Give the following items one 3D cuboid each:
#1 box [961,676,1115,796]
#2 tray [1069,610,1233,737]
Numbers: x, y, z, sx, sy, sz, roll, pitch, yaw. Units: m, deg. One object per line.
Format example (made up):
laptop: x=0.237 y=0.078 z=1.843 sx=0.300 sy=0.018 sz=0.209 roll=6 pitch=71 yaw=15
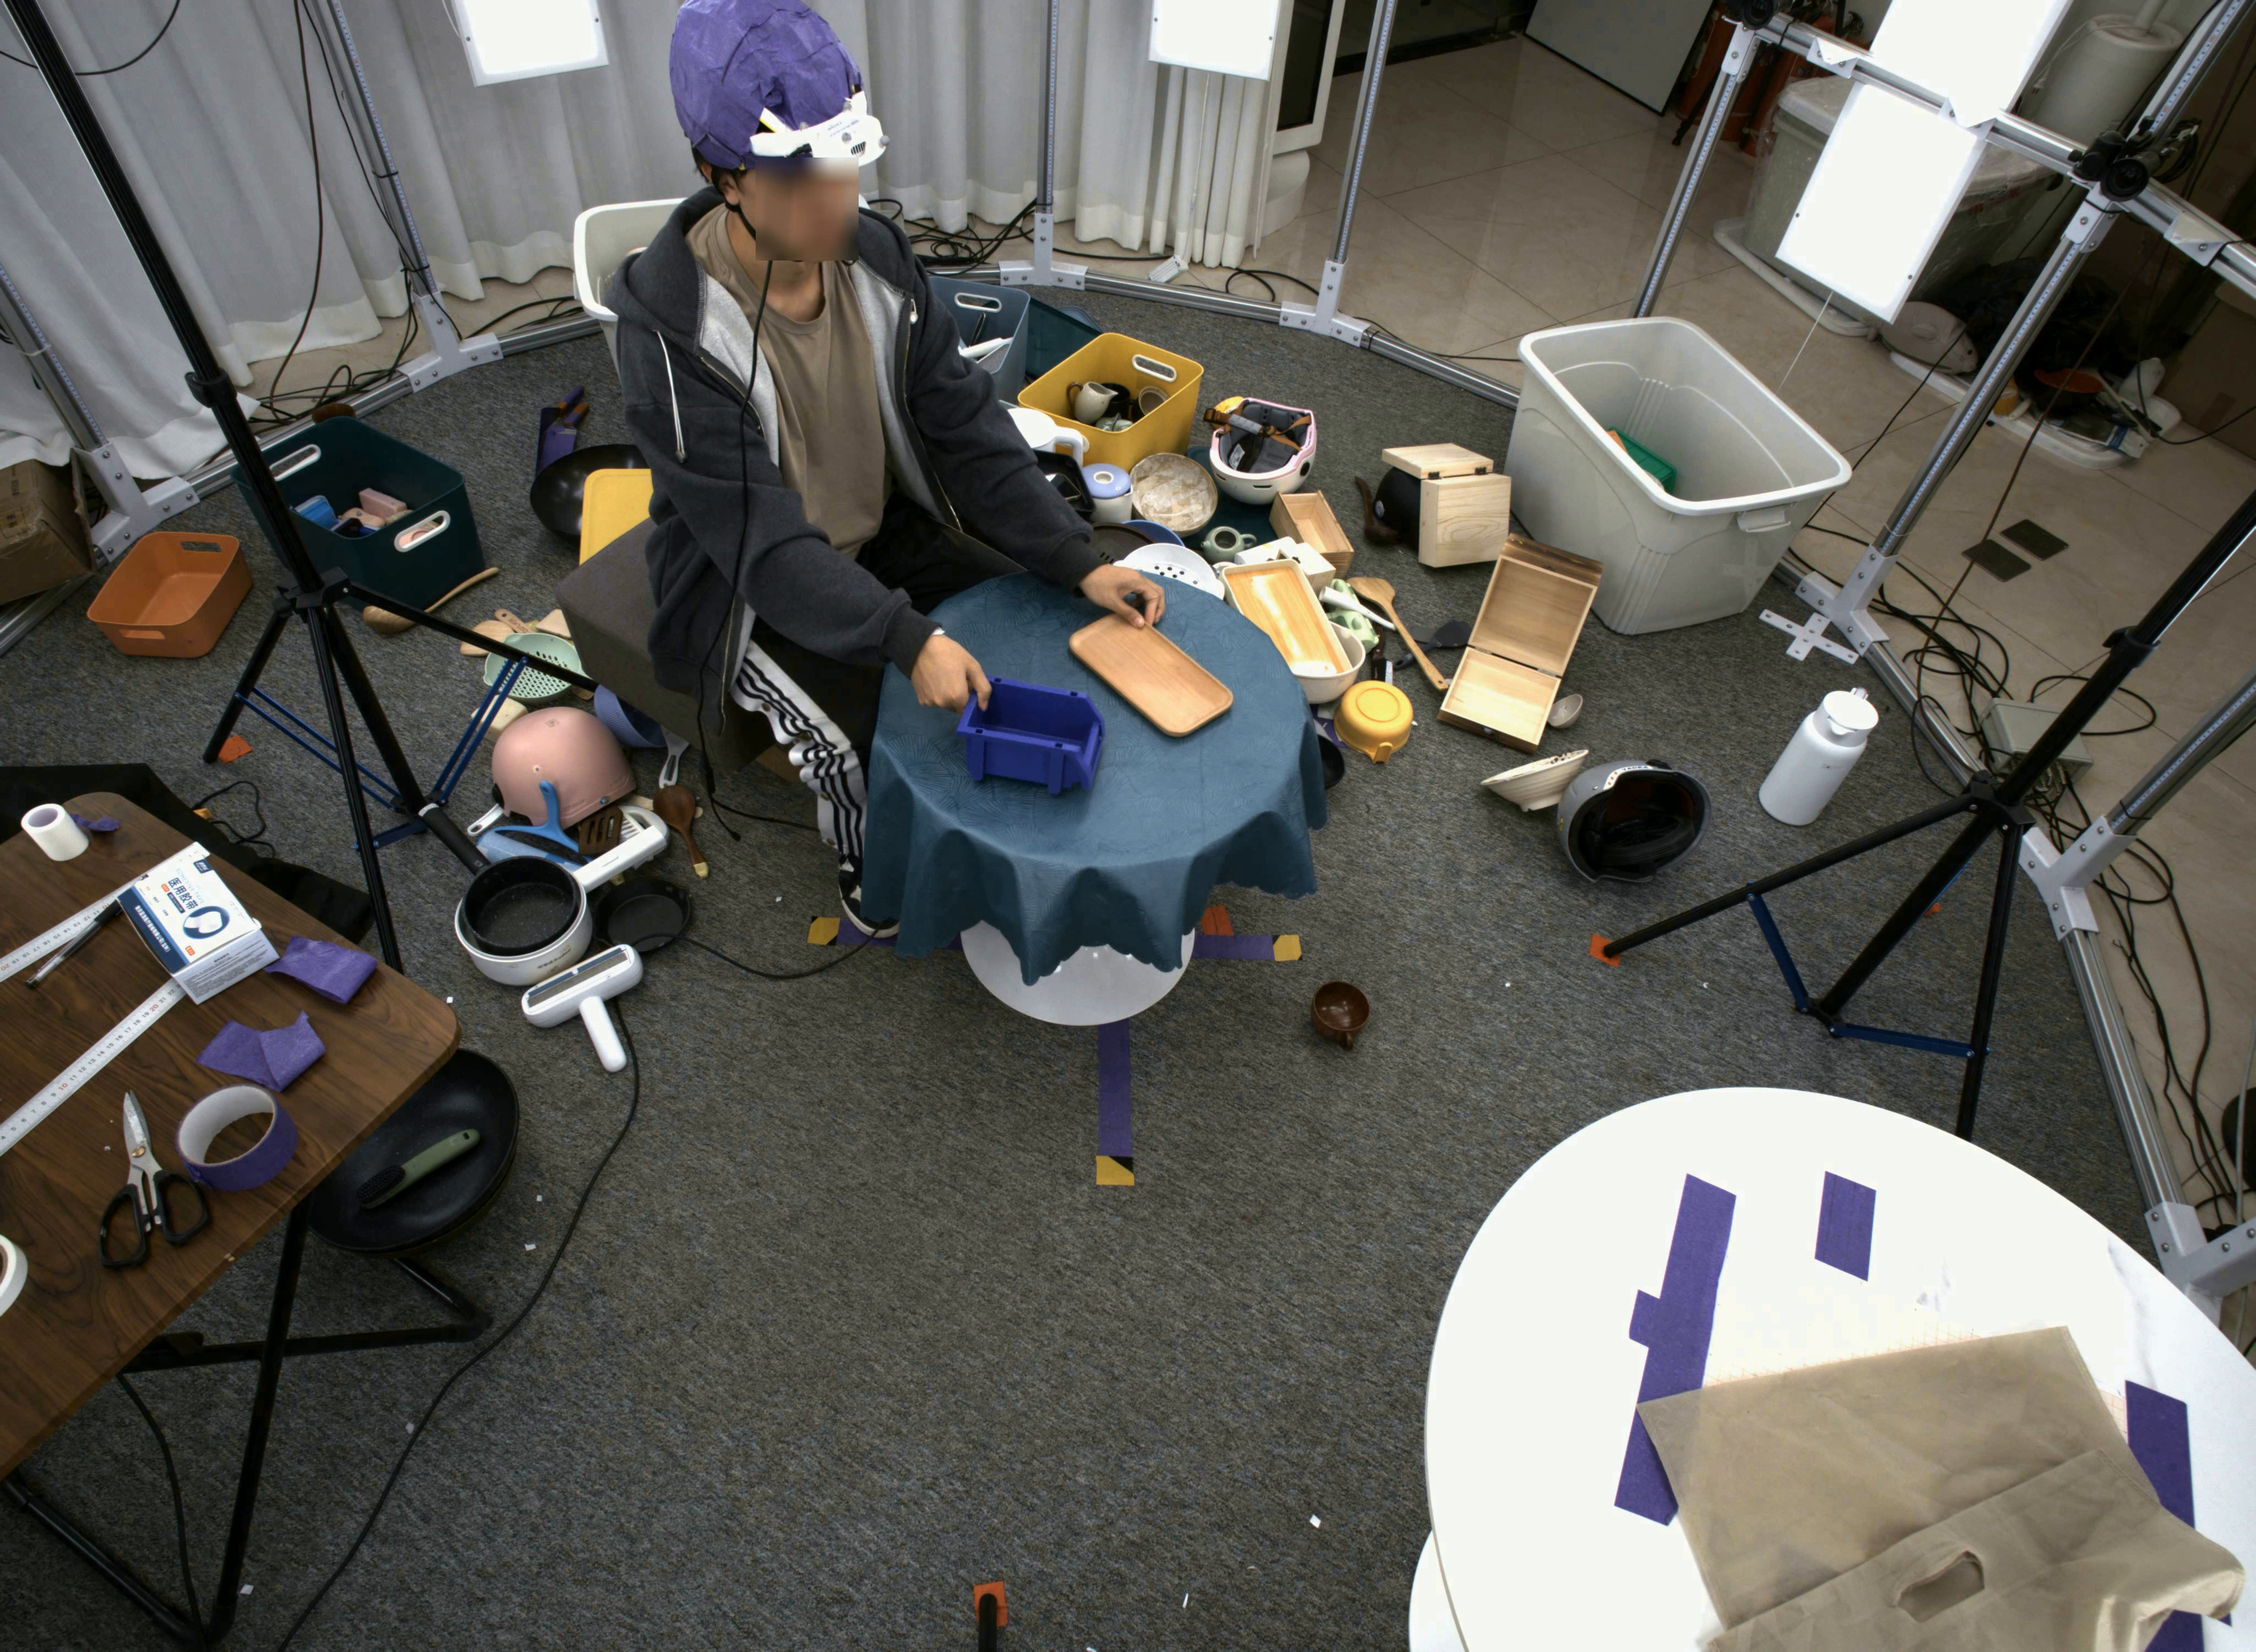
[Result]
box: x=-0.115 y=-0.118 z=1.700 sx=0.180 sy=0.080 sz=0.127 roll=10 pitch=44 yaw=8
tray: x=0.031 y=-0.222 z=1.850 sx=0.131 sy=0.022 sz=0.255 roll=-29 pitch=56 yaw=-29
